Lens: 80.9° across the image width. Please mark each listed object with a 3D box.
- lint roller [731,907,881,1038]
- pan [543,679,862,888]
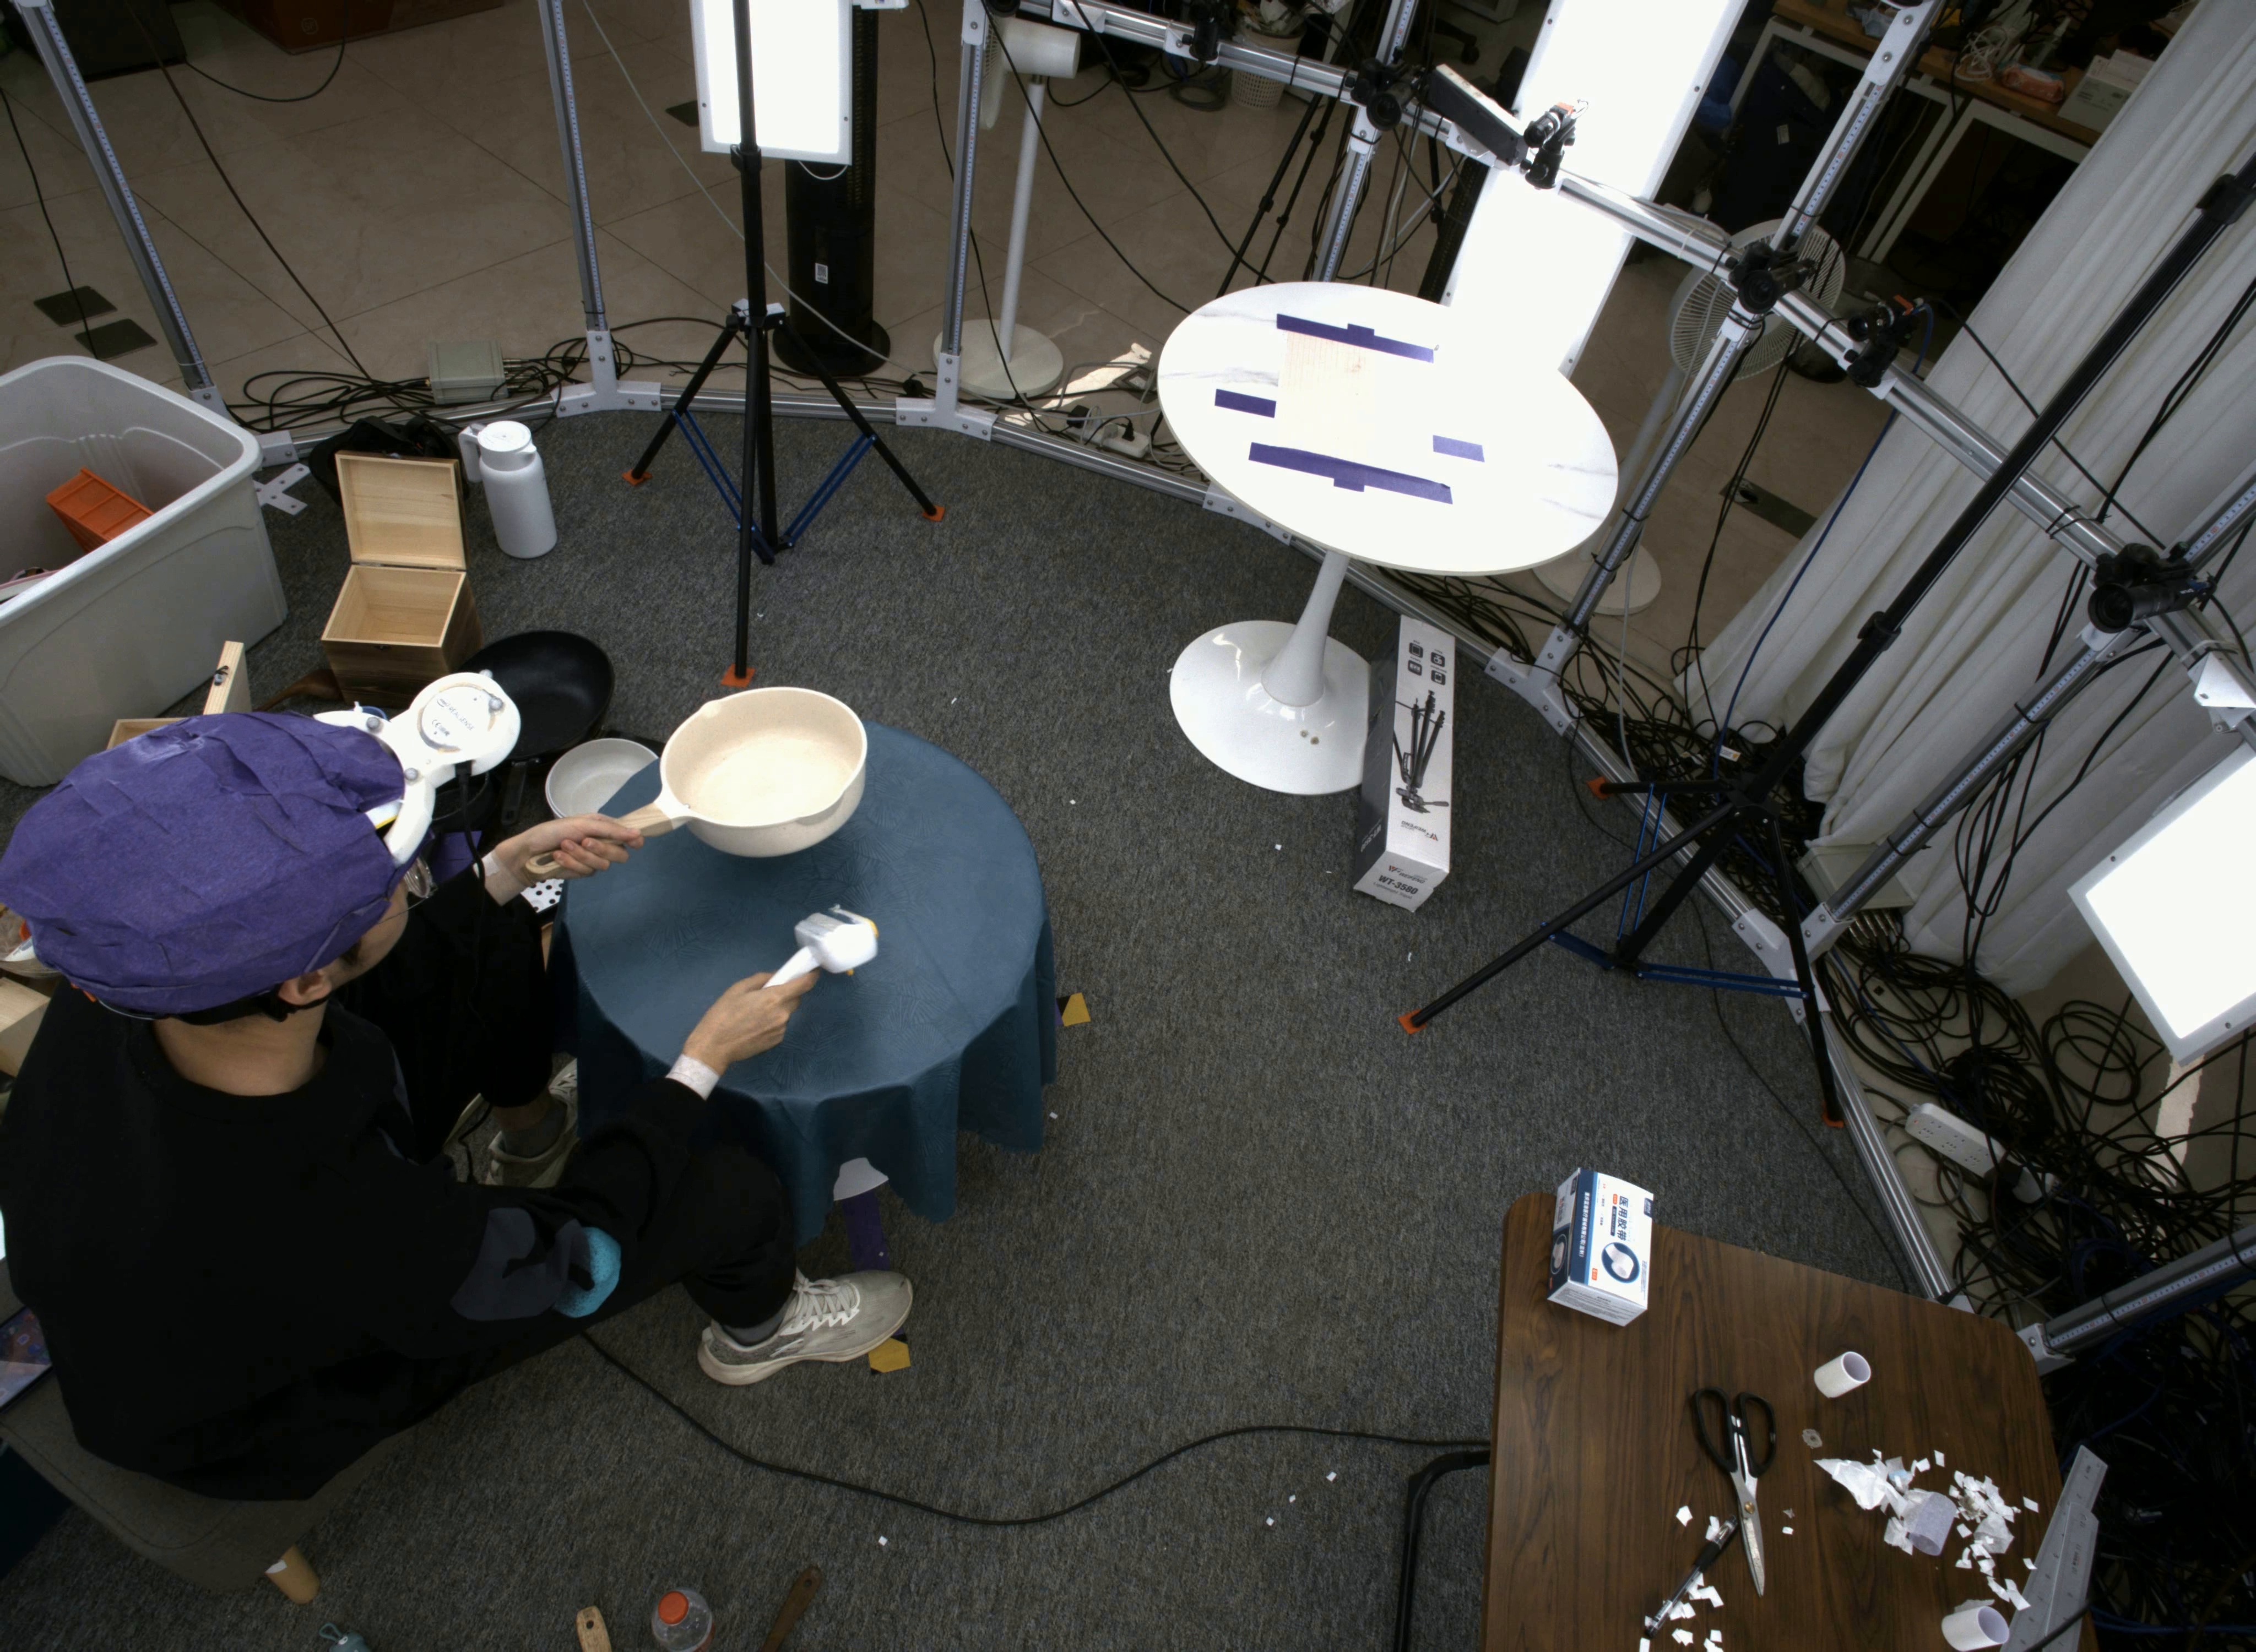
[{"bbox_3d":[-0.384,0.167,1.501,0.192,0.187,0.076,-33,110,-18],"label":"lint roller"},{"bbox_3d":[-0.516,-0.026,1.560,0.255,0.105,0.436,38,56,25],"label":"pan"}]
